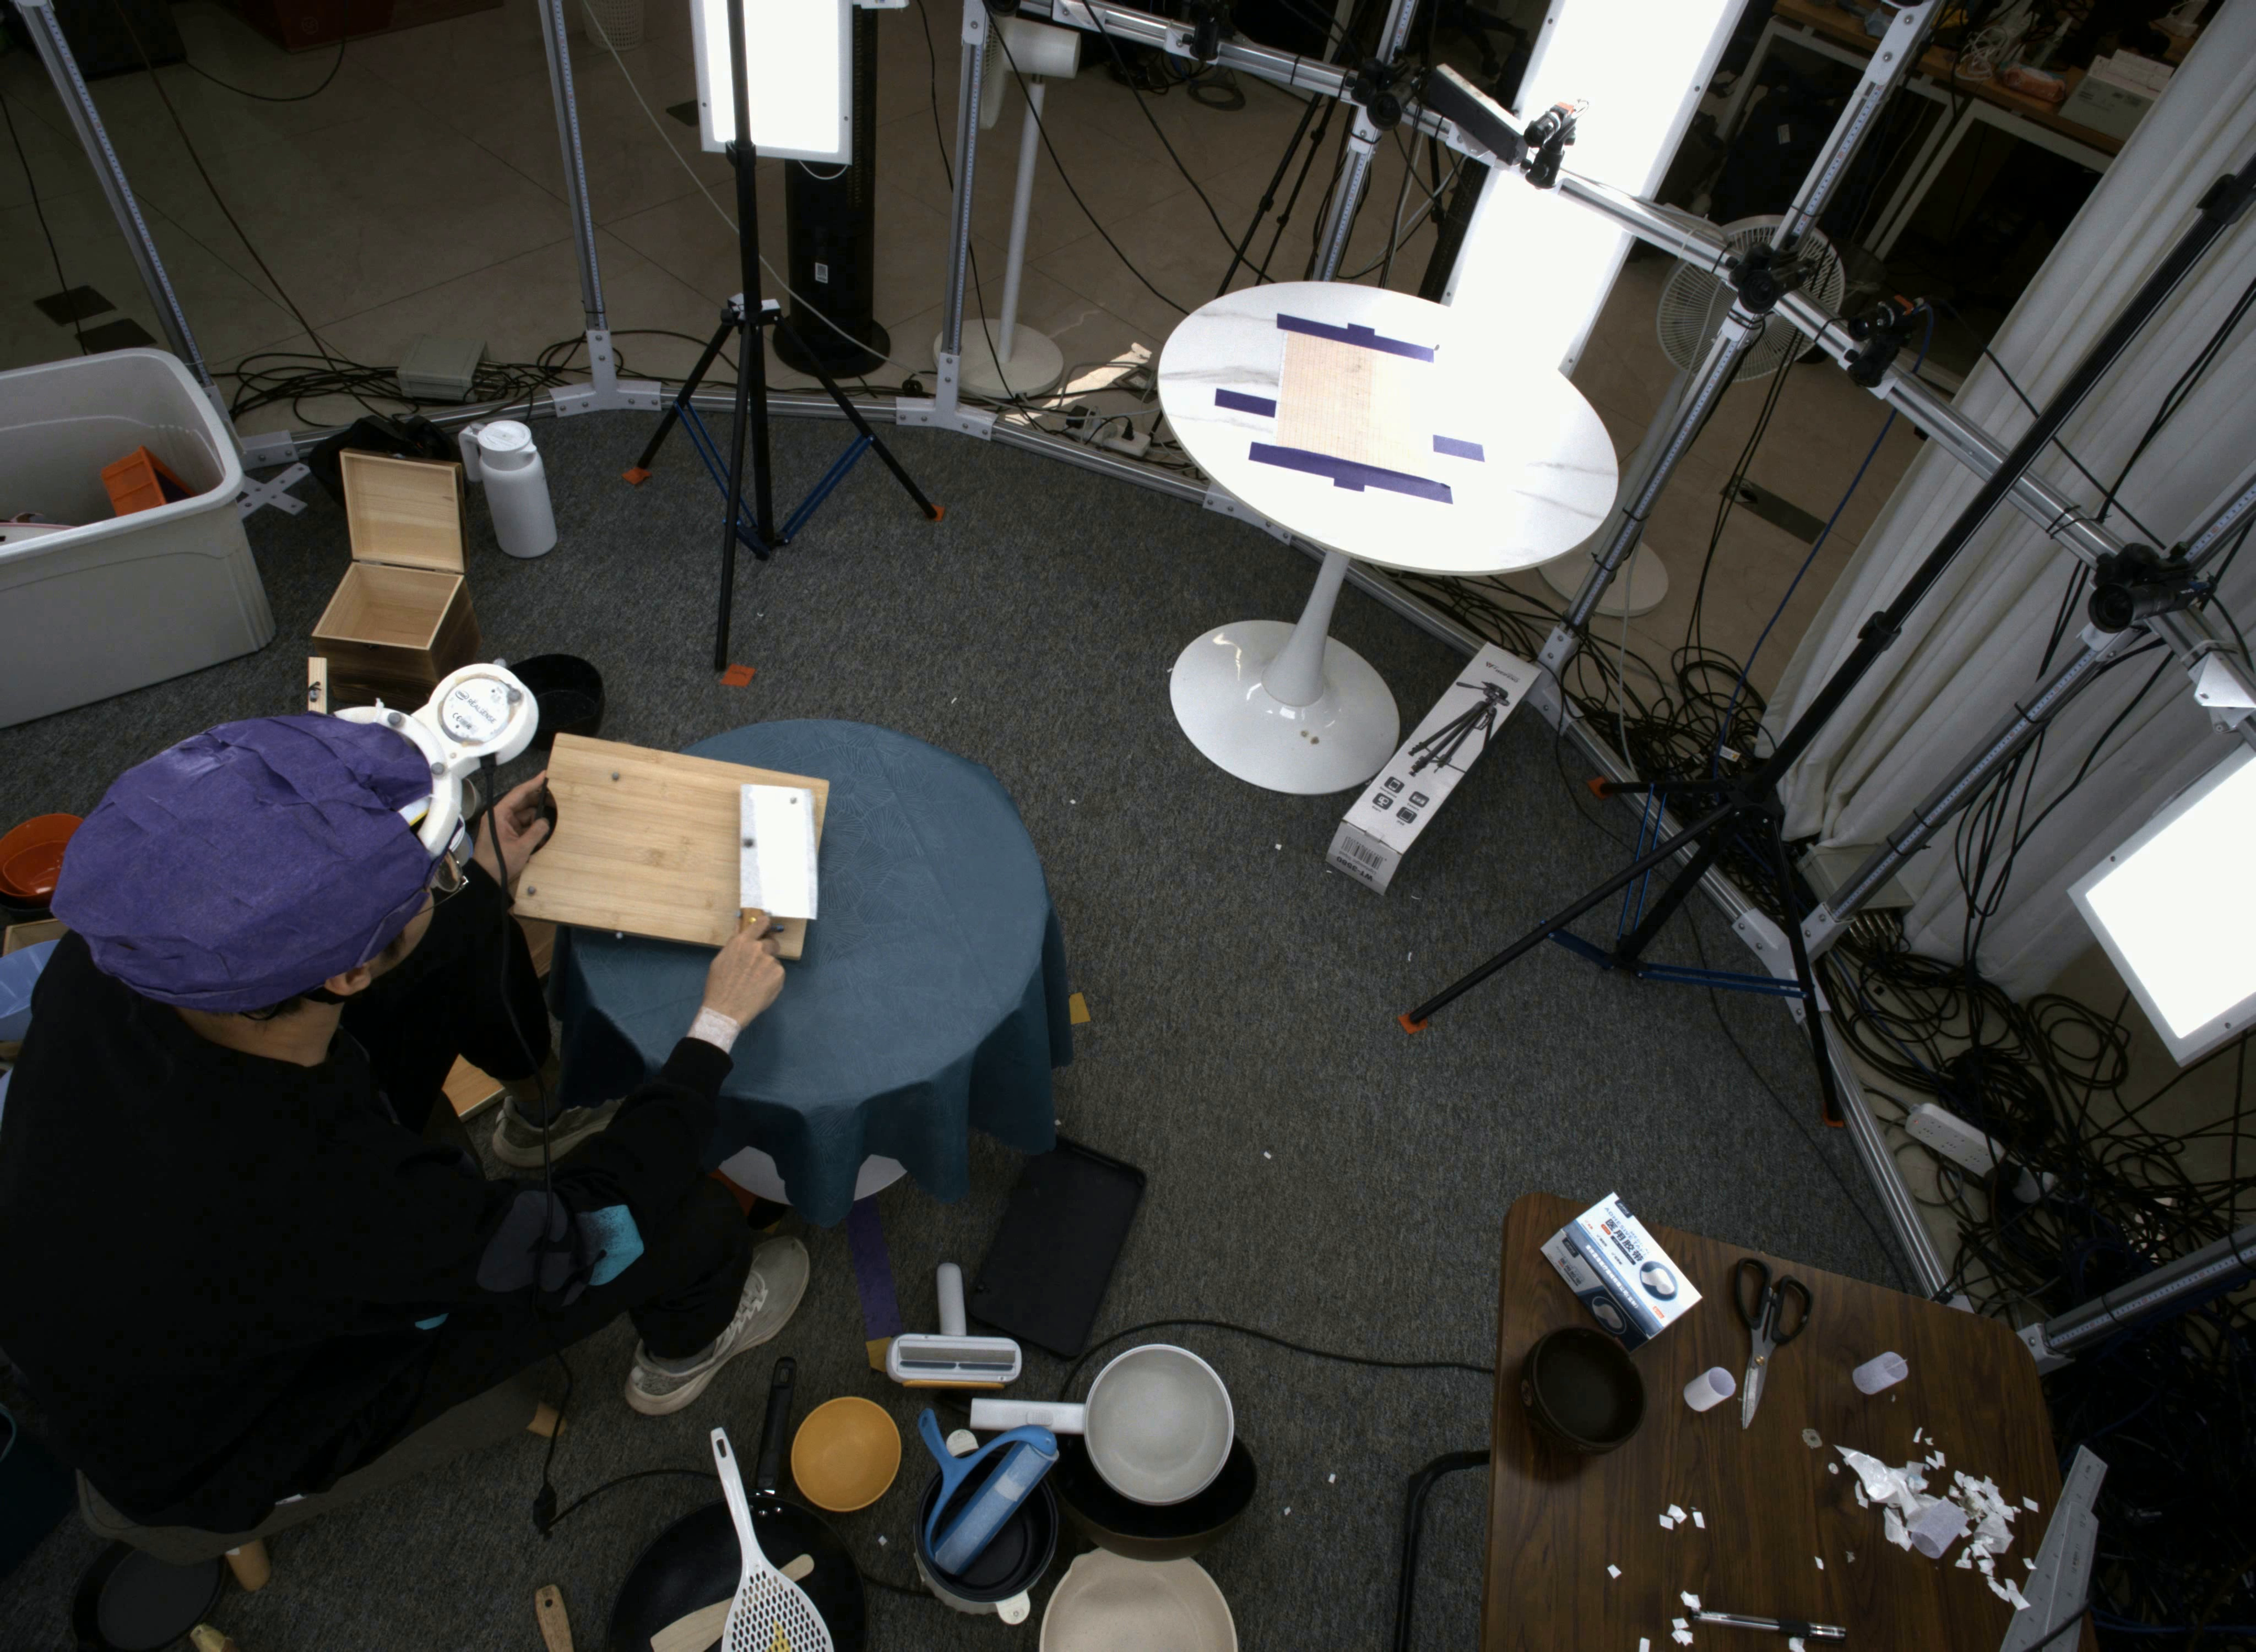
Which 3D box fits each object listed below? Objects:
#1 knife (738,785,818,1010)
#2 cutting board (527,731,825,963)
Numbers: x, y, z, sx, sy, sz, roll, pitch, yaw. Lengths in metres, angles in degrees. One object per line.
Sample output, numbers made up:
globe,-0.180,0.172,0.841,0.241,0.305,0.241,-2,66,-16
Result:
knife,-0.416,0.076,1.540,0.094,0.021,0.300,5,57,-25
cutting board,-0.560,0.022,1.577,0.351,0.023,0.249,9,68,-18
